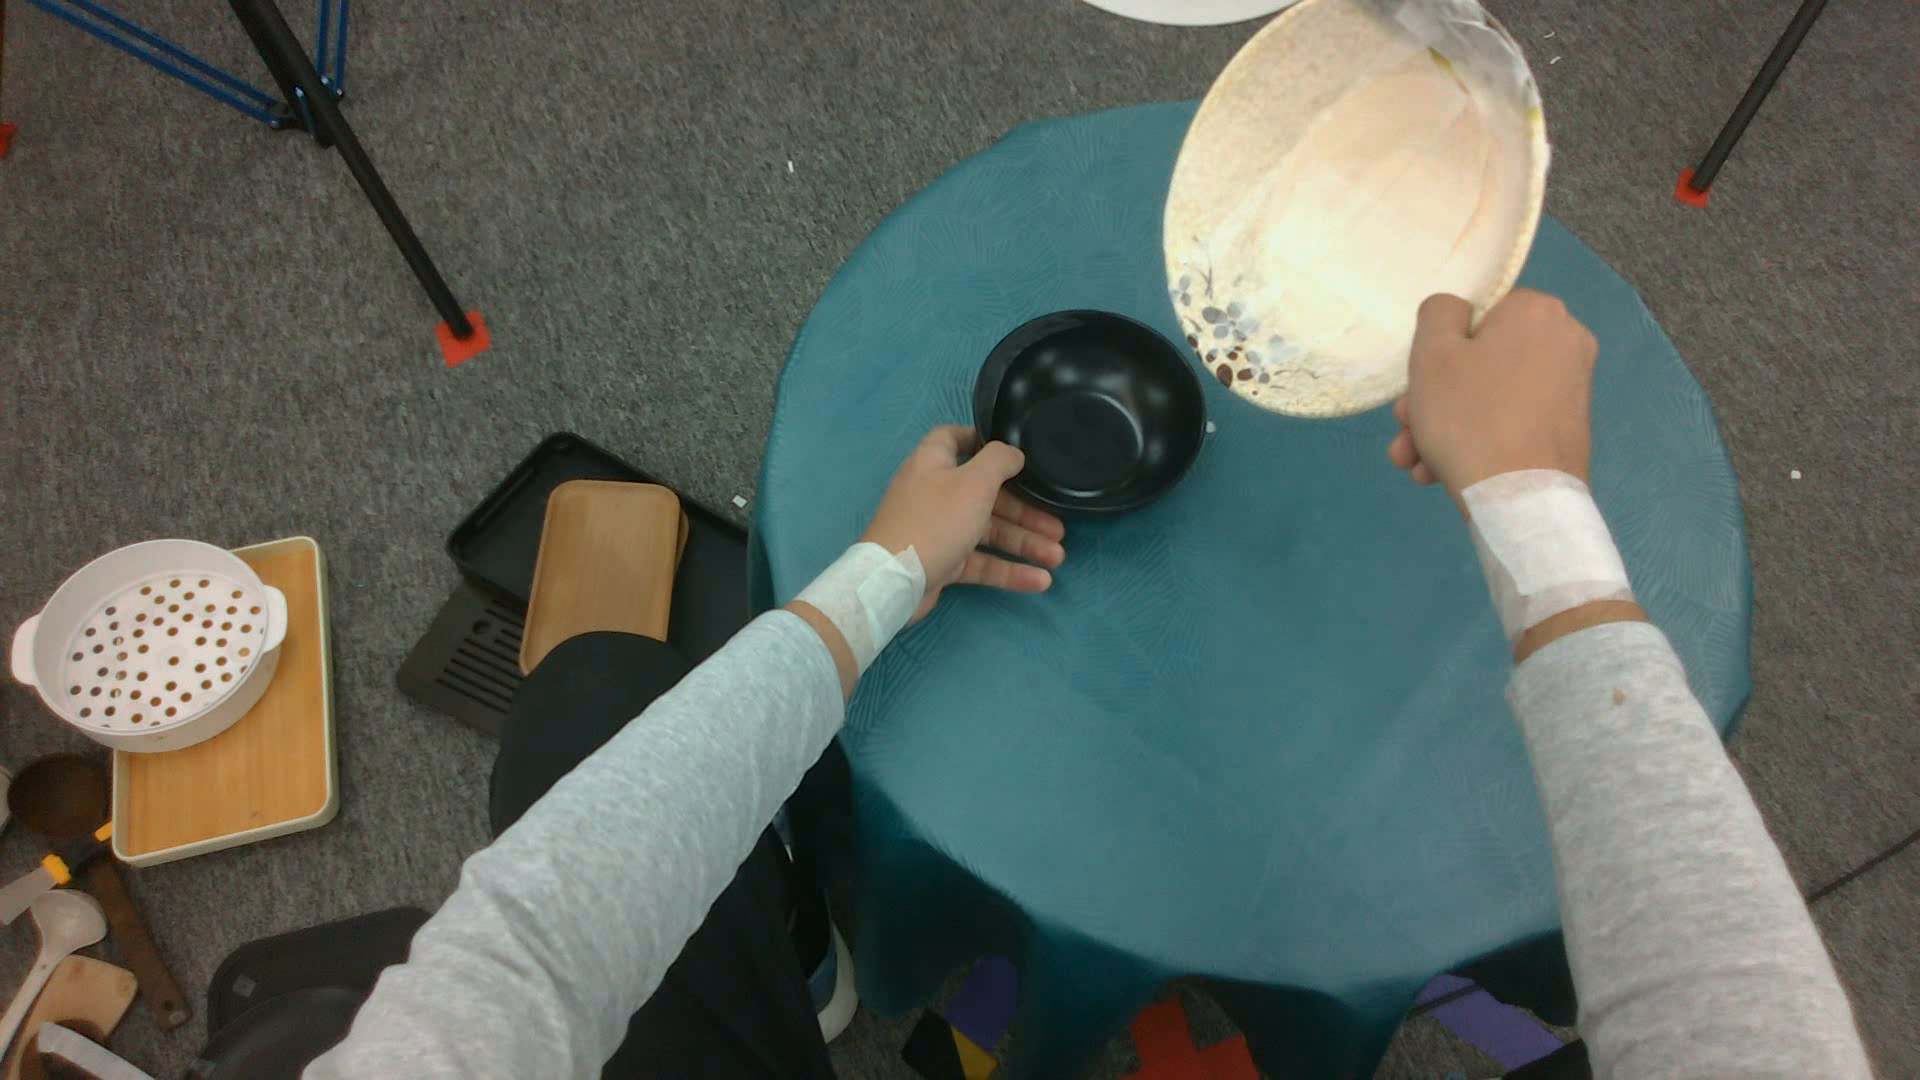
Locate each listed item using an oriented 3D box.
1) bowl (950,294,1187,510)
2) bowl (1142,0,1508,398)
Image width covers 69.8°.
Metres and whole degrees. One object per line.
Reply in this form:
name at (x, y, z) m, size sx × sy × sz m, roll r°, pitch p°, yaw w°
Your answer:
bowl at (0.064, -0.076, 0.830) m, size 0.140 × 0.049 × 0.140 m, roll 0°, pitch 69°, yaw 0°
bowl at (0.190, -0.170, 0.679) m, size 0.078 × 0.203 × 0.204 m, roll -2°, pitch 59°, yaw -41°
